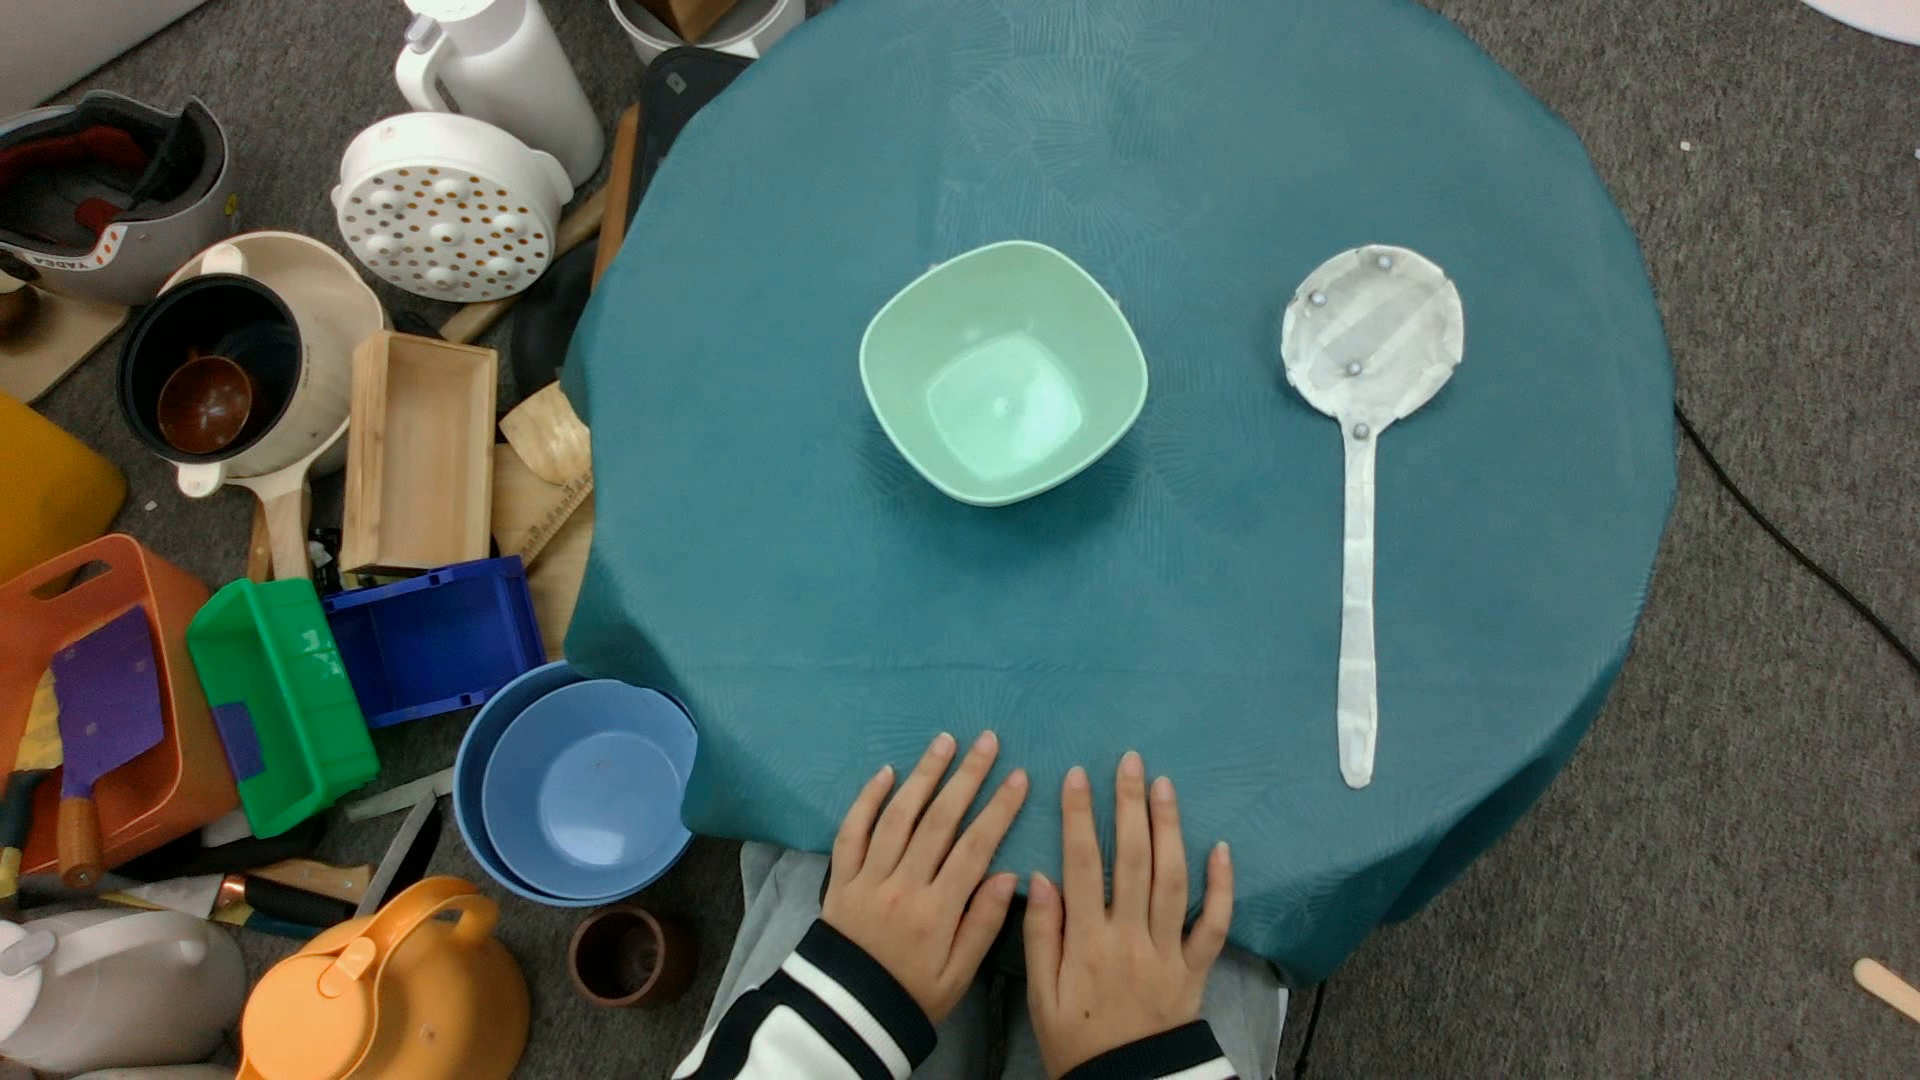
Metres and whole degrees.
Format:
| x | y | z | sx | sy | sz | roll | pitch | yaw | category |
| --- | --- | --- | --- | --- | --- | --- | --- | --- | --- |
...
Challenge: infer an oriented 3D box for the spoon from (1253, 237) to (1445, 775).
| x | y | z | sx | sy | sz | roll | pitch | yaw | category |
| --- | --- | --- | --- | --- | --- | --- | --- | --- | --- |
| 0.192 | -0.022 | 0.707 | 0.100 | 0.059 | 0.278 | 6 | 71 | 9 | spoon |

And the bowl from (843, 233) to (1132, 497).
| x | y | z | sx | sy | sz | roll | pitch | yaw | category |
| --- | --- | --- | --- | --- | --- | --- | --- | --- | --- |
| 0.015 | -0.085 | 0.737 | 0.151 | 0.058 | 0.152 | -1 | 70 | 2 | bowl |
